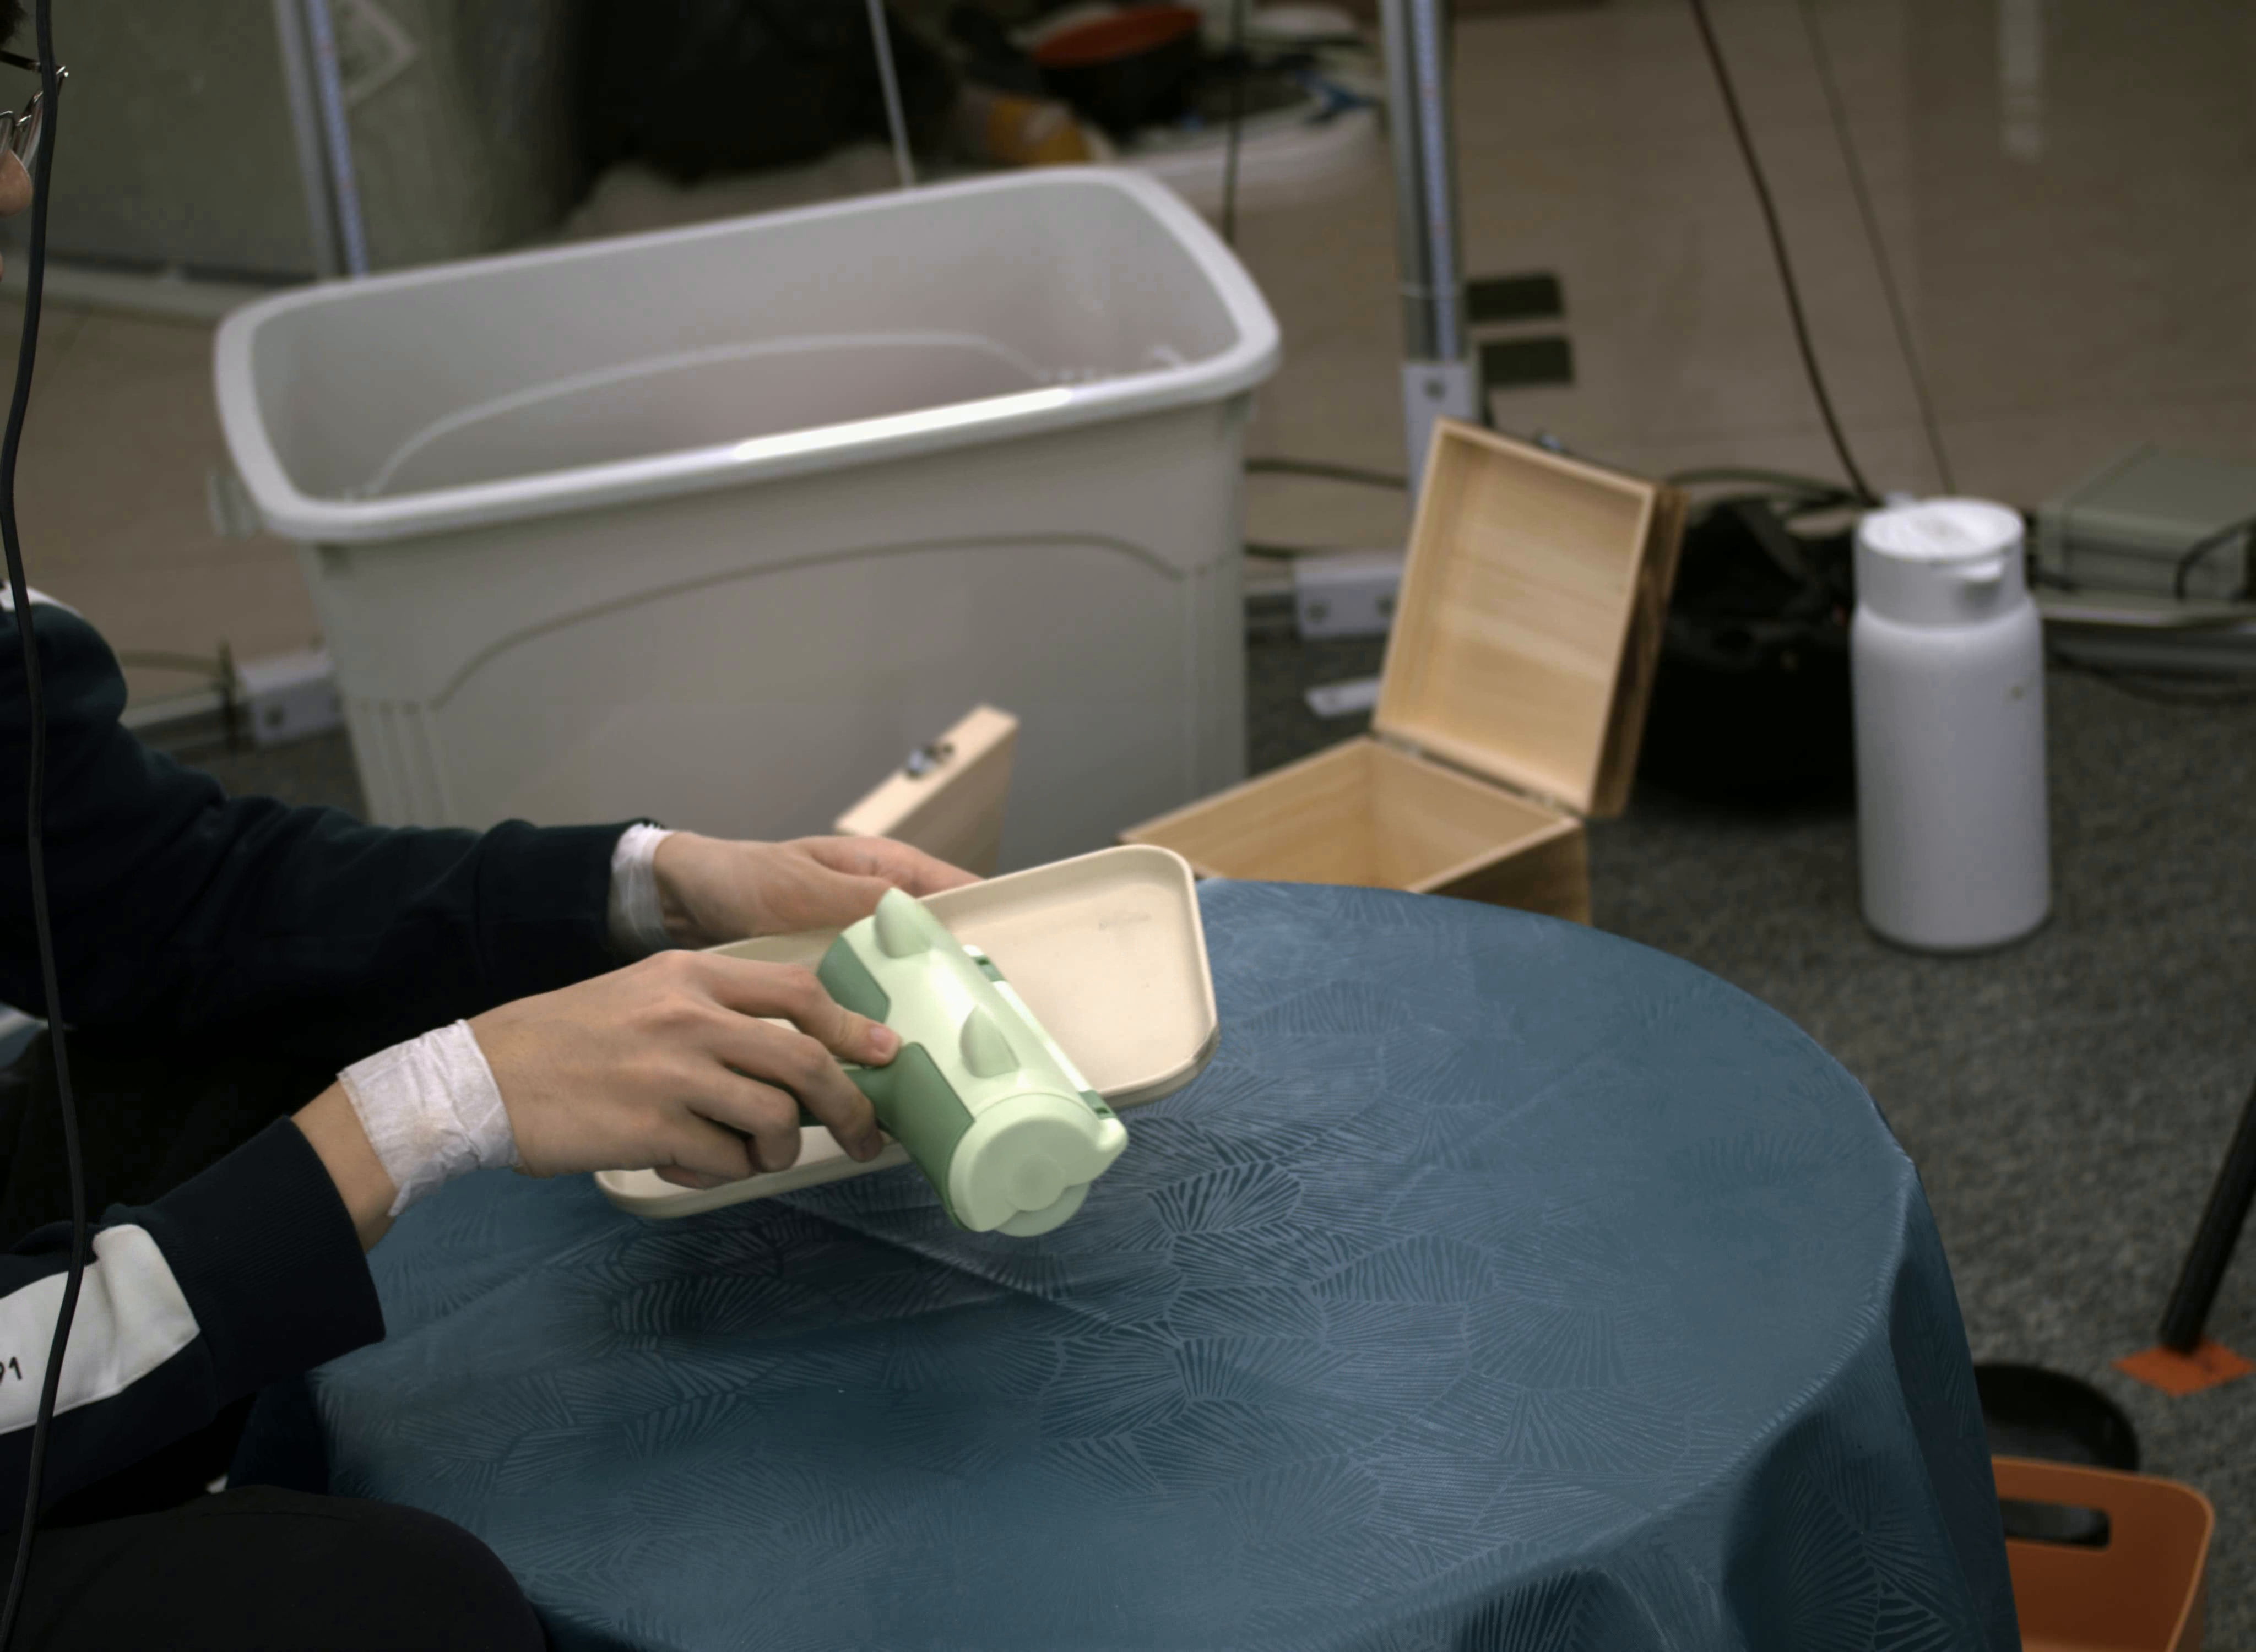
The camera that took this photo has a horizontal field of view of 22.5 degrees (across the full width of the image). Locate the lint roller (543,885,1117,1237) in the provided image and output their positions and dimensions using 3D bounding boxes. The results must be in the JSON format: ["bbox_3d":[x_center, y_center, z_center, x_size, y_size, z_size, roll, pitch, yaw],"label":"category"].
[{"bbox_3d":[-0.117,0.080,2.031,0.183,0.083,0.196,1,20,-19],"label":"lint roller"}]

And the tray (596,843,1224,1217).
[{"bbox_3d":[-0.083,0.078,2.137,0.239,0.018,0.168,-14,30,3],"label":"tray"}]
